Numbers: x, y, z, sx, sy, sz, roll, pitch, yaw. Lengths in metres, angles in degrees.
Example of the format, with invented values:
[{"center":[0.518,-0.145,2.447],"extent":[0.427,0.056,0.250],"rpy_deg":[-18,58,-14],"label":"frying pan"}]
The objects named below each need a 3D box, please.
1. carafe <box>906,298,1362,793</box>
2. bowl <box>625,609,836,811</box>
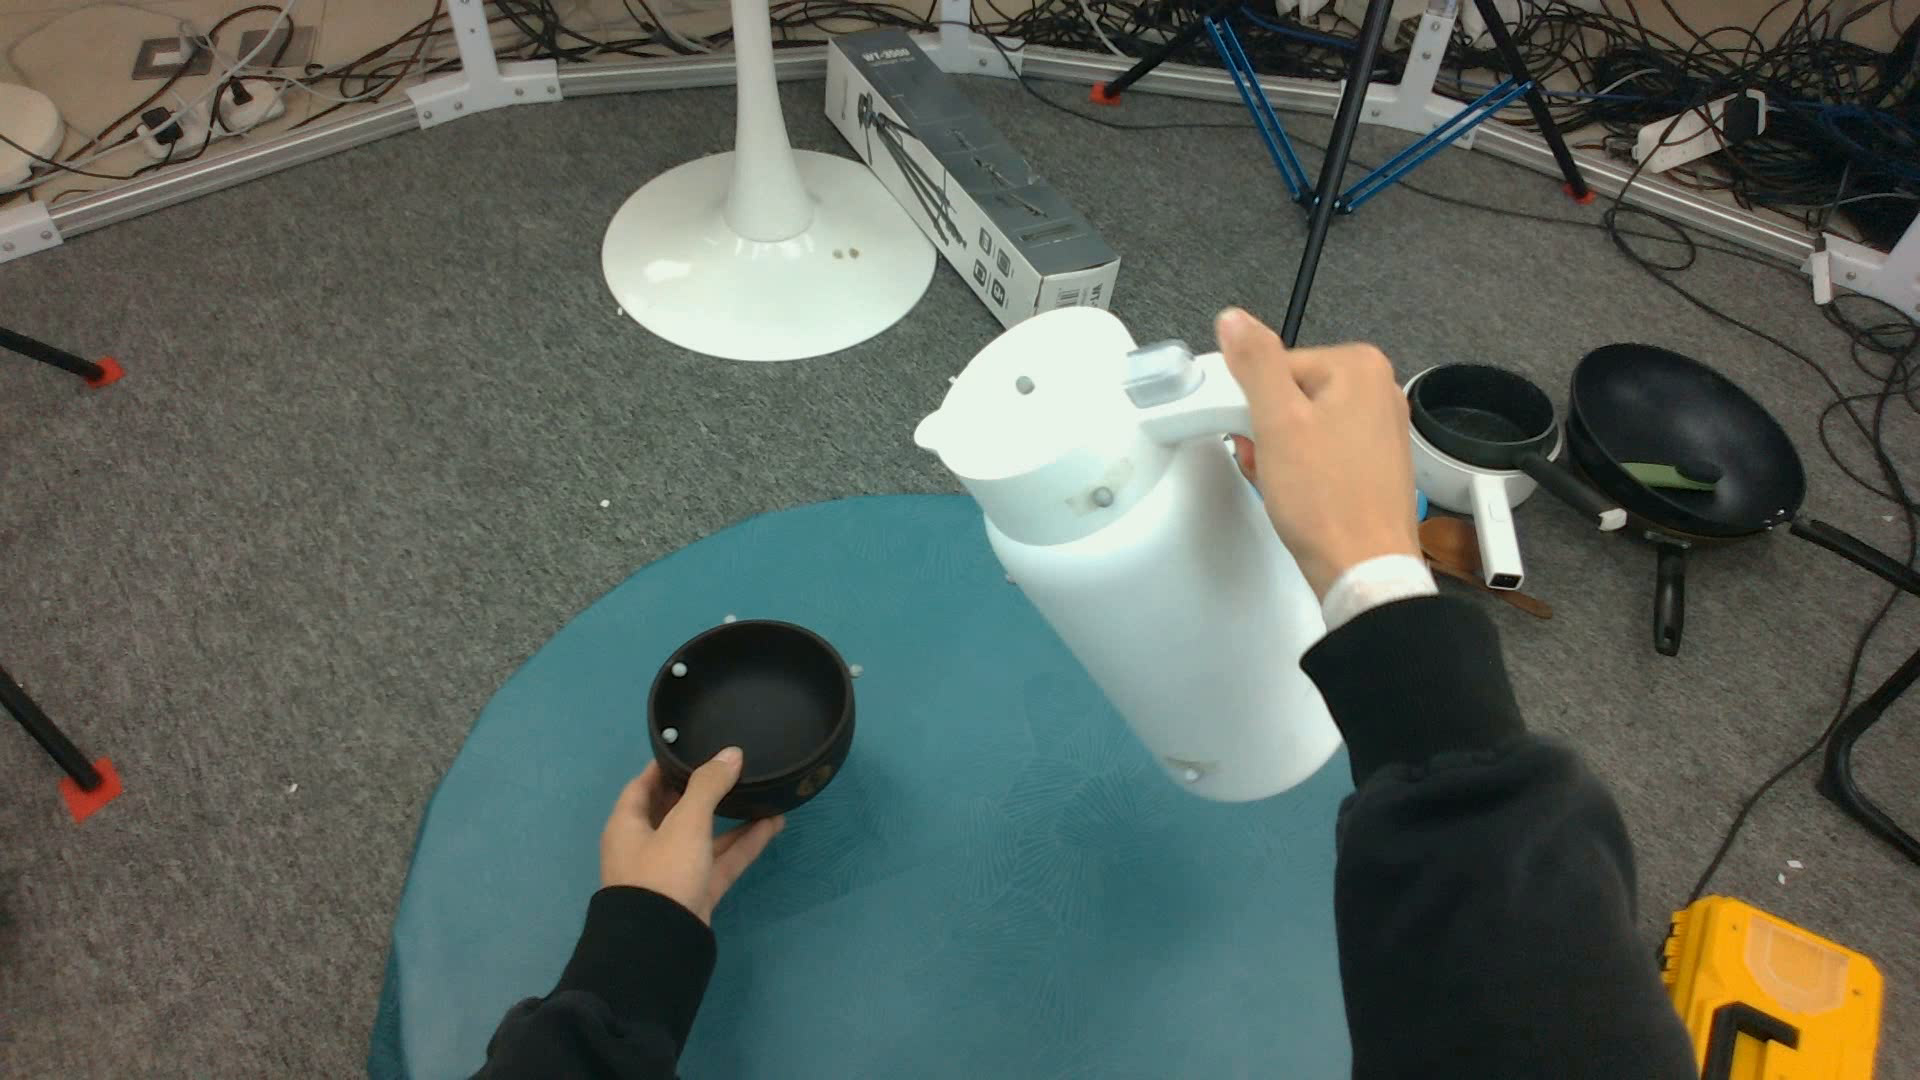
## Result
[{"center":[0.107,0.008,0.672],"extent":[0.172,0.268,0.124],"rpy_deg":[-7,46,31],"label":"carafe"},{"center":[-0.131,0.105,0.799],"extent":[0.118,0.069,0.118],"rpy_deg":[2,48,-2],"label":"bowl"}]
